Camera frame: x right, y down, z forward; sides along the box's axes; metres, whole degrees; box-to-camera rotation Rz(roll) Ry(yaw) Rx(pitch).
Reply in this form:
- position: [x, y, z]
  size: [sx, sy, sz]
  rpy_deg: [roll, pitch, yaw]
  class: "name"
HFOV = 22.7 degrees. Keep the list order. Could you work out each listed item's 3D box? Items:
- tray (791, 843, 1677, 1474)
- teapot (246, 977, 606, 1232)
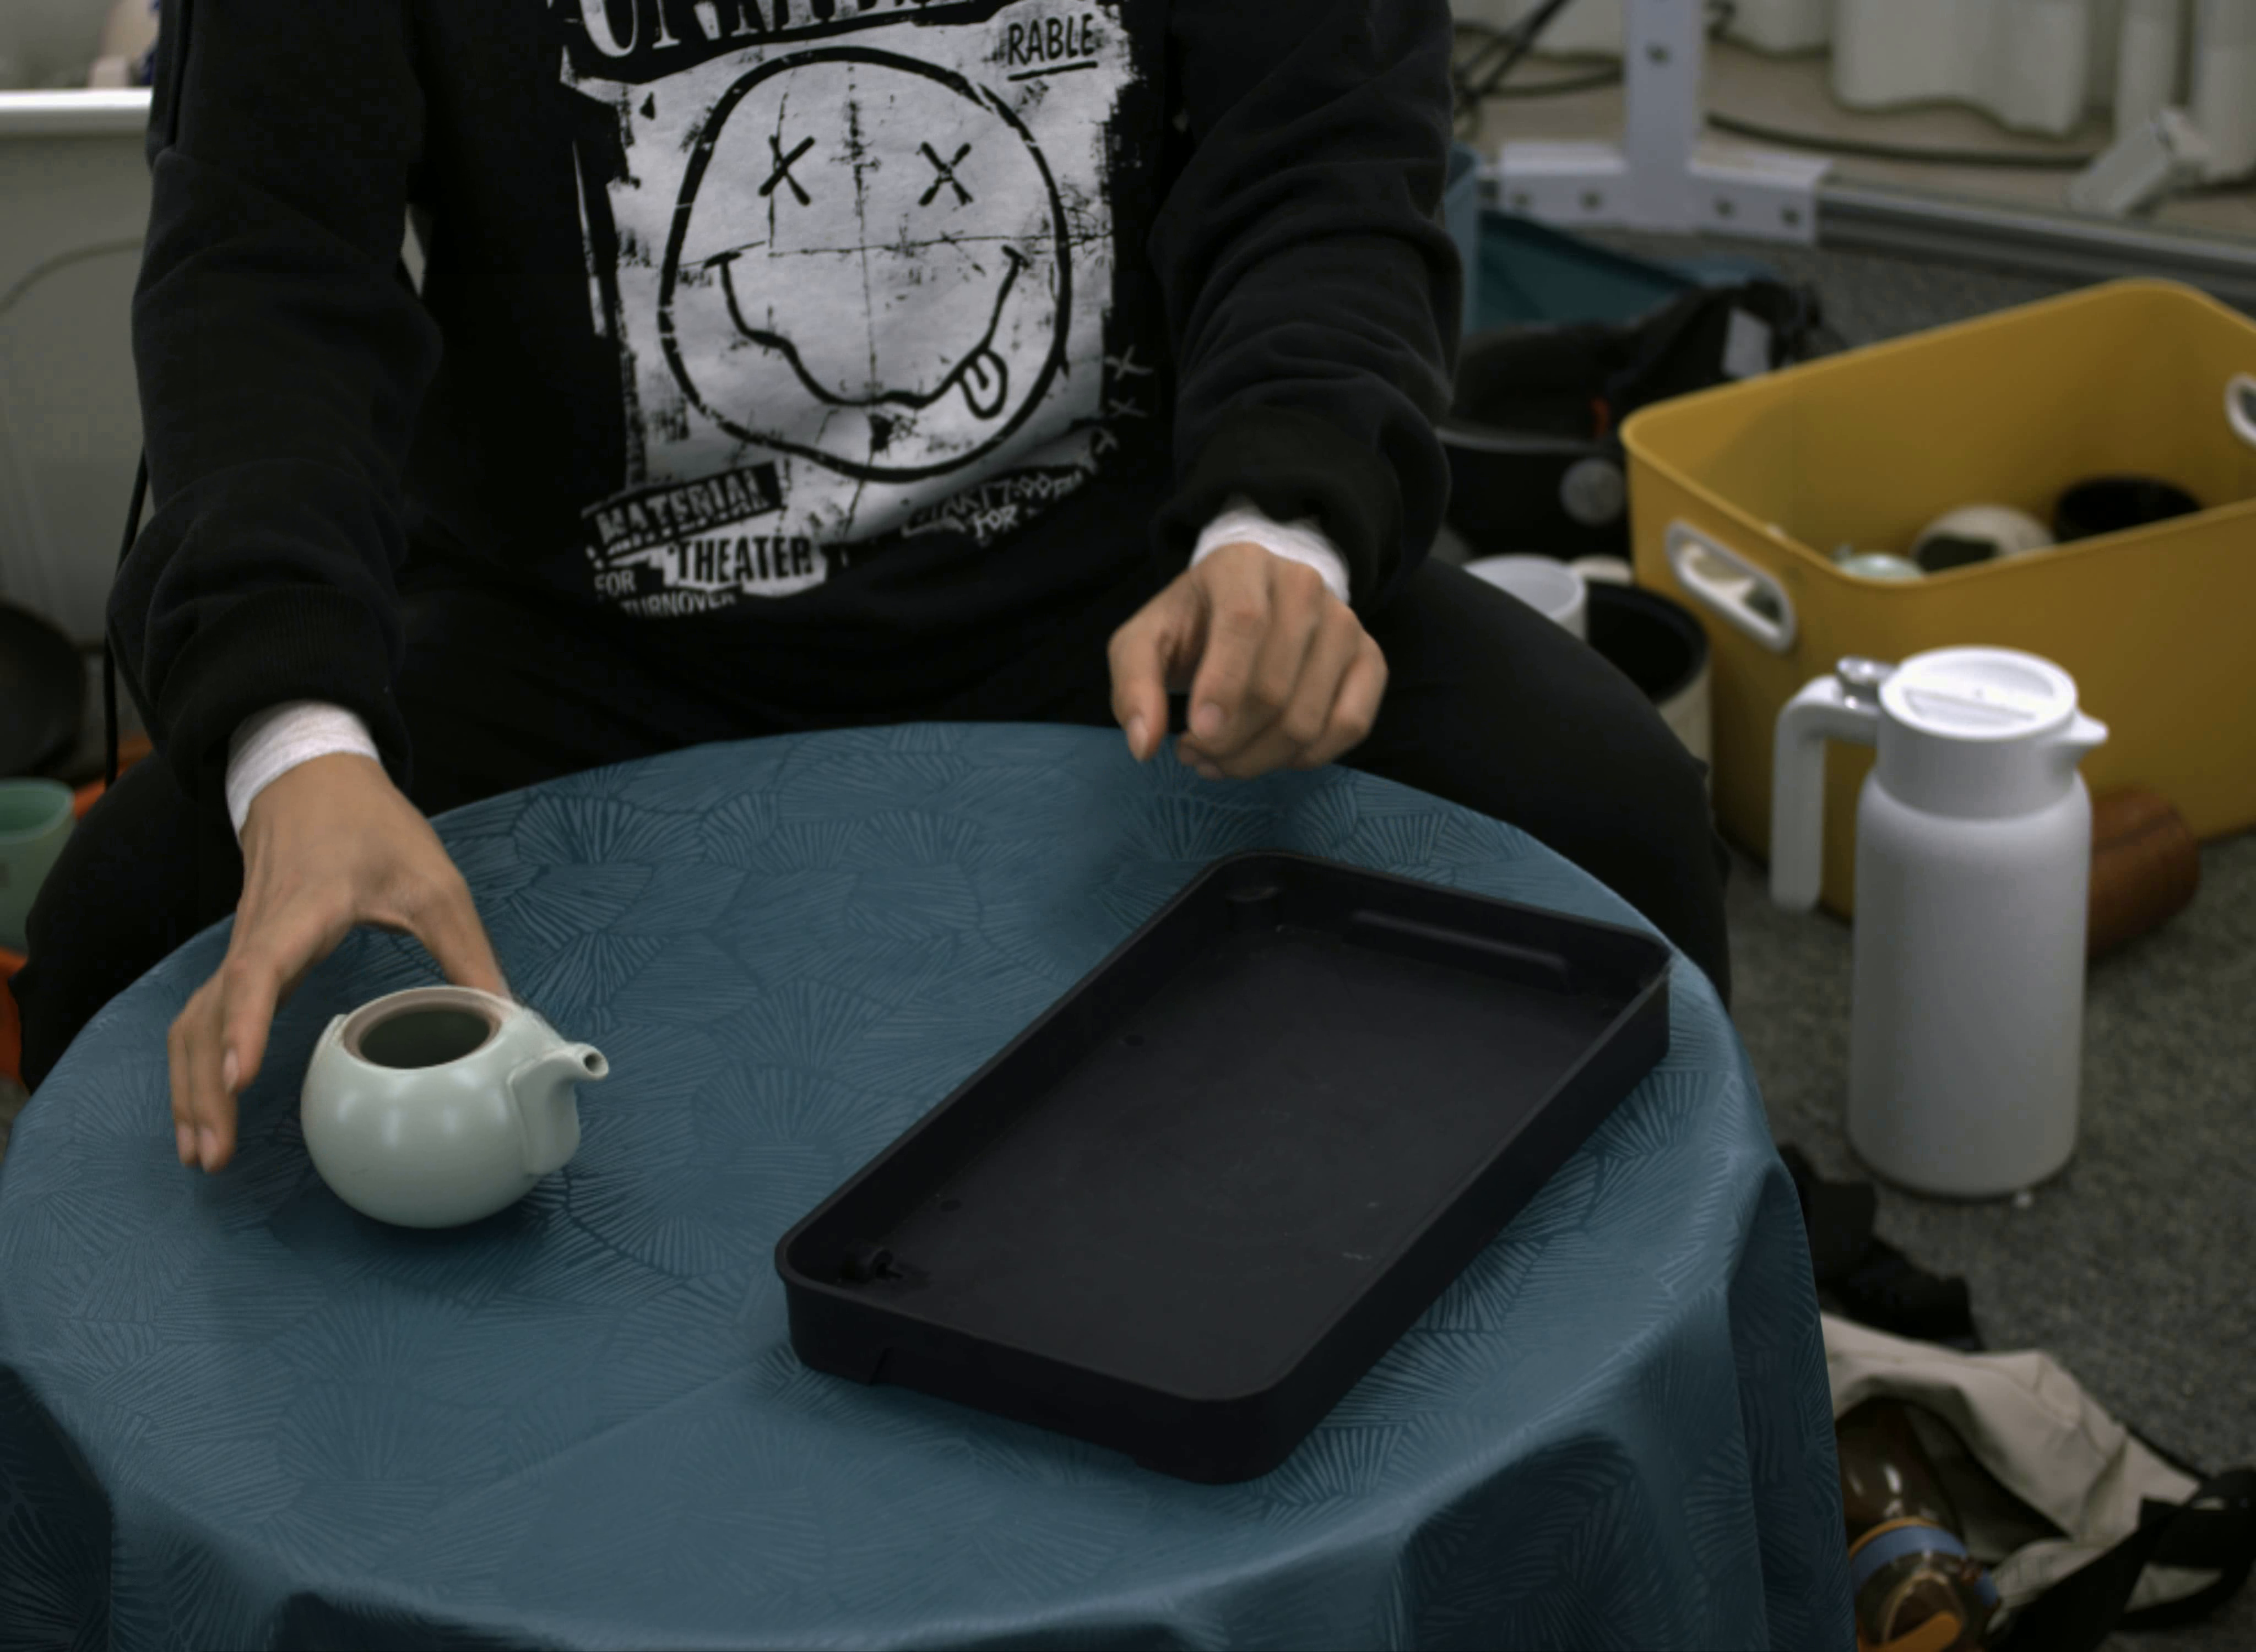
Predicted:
- position: [0.042, 0.102, 1.854]
  size: [0.183, 0.036, 0.323]
  rpy_deg: [11, 31, 26]
  class: "tray"
- position: [-0.229, 0.093, 1.858]
  size: [0.143, 0.074, 0.090]
  rpy_deg: [10, 29, 29]
  class: "teapot"
